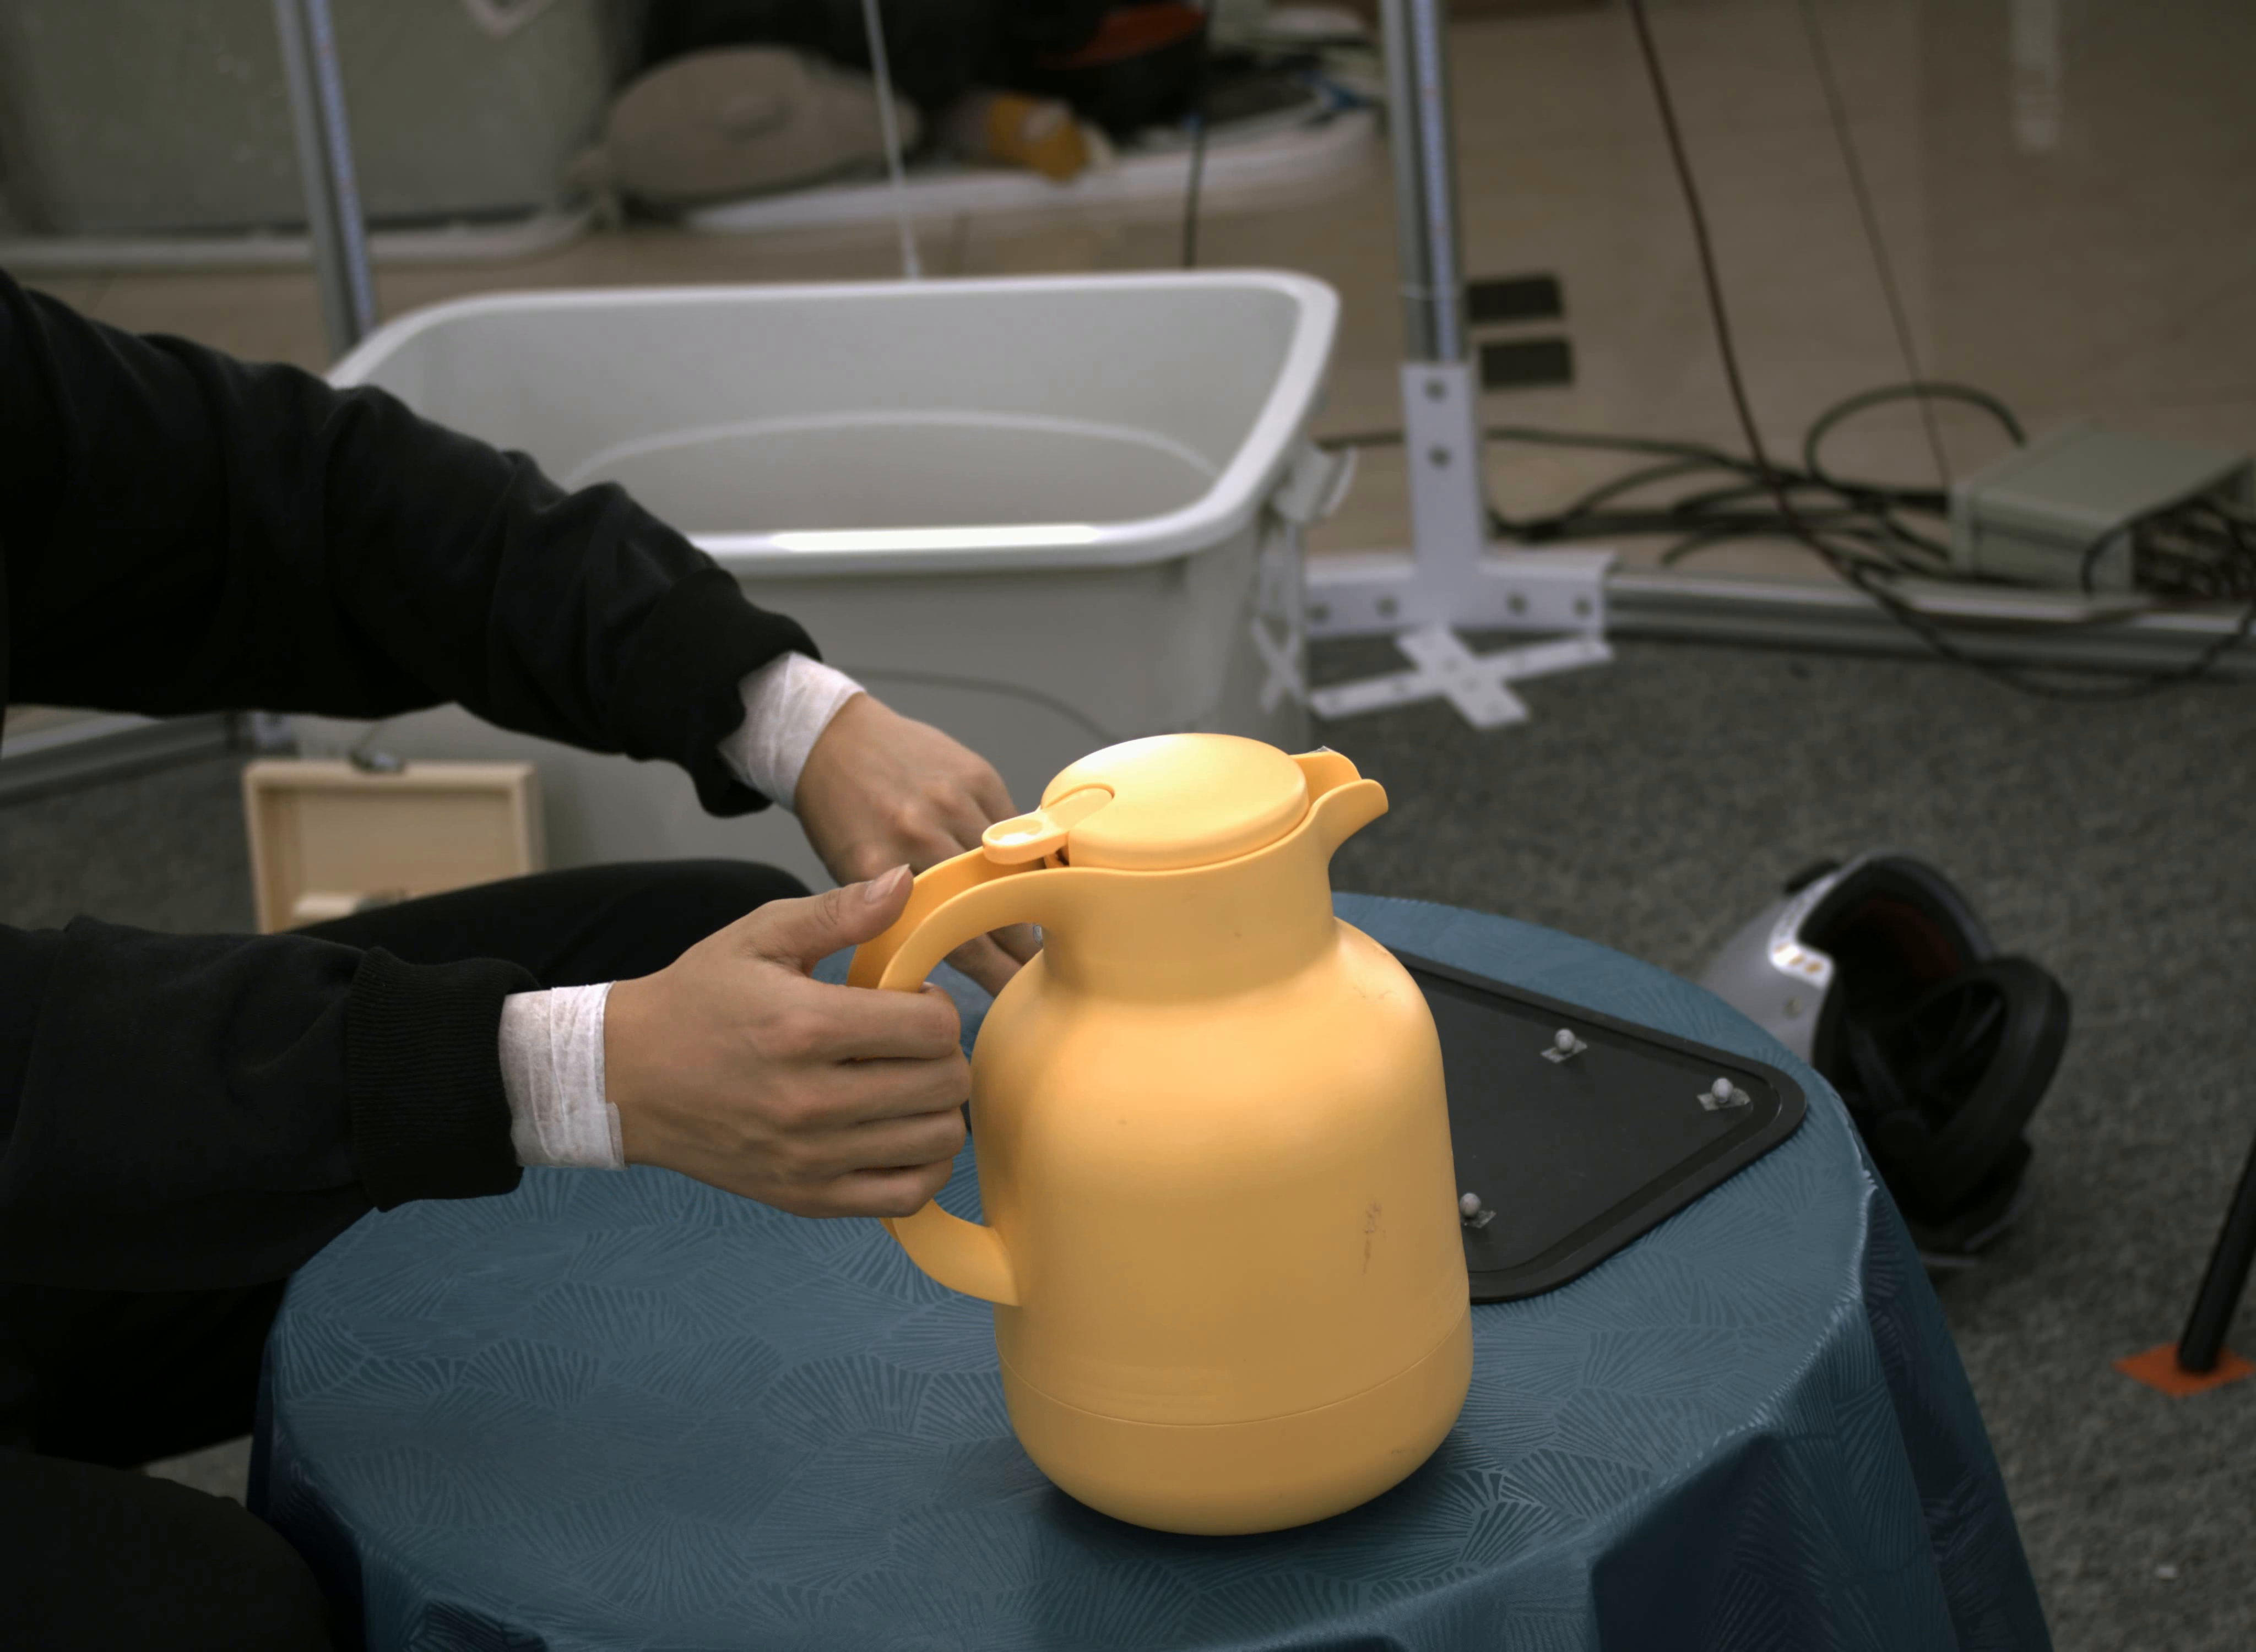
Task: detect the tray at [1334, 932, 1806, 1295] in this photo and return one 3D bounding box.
[{"bbox_3d":[0.087,0.104,2.197,0.323,0.010,0.209,17,34,41],"label":"tray"}]

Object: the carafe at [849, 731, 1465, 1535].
[{"bbox_3d":[0.008,0.103,1.911,0.202,0.264,0.161,-13,24,-16],"label":"carafe"}]
